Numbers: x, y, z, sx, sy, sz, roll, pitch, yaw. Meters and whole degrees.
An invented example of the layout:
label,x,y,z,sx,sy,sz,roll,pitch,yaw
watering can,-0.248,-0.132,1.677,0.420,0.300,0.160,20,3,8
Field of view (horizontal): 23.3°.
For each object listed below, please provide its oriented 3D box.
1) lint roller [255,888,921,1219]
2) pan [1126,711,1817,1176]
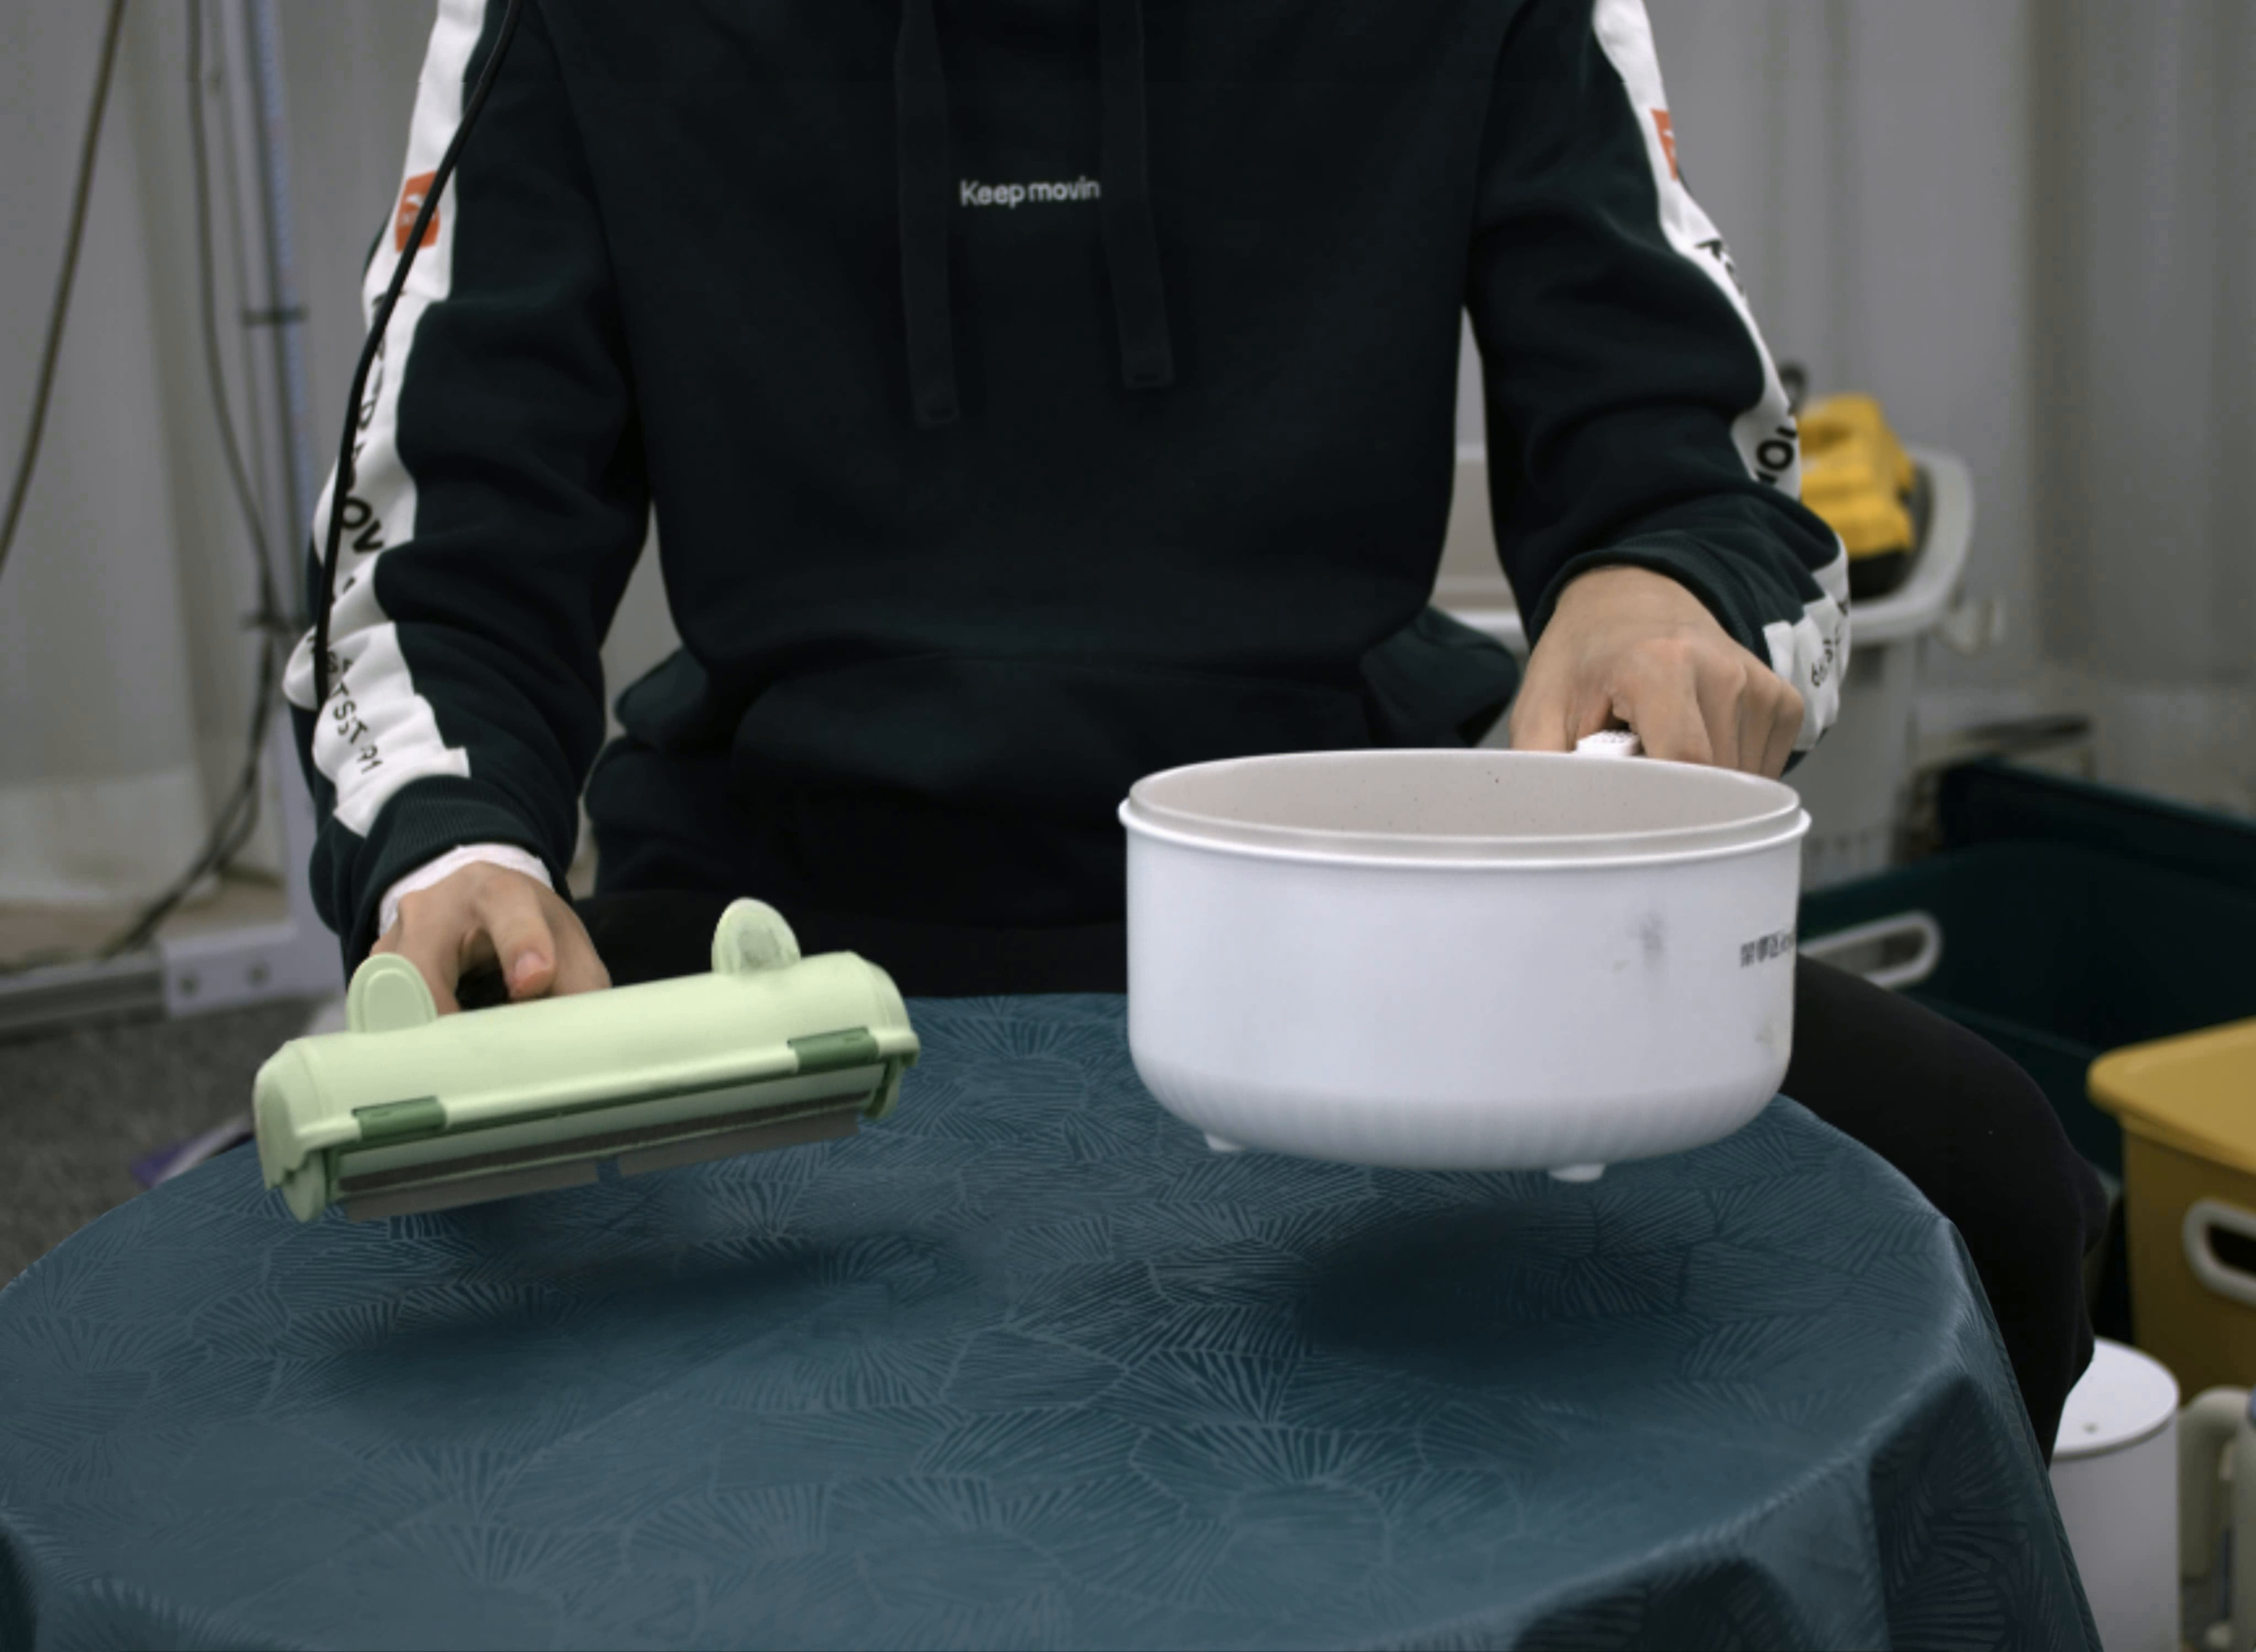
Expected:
label,x,y,z,sx,sy,sz,roll,pitch,yaw
lint roller,-0.185,0.055,1.690,0.198,0.082,0.185,-9,19,-23
pan,0.127,0.029,1.665,0.201,0.102,0.354,4,8,22
